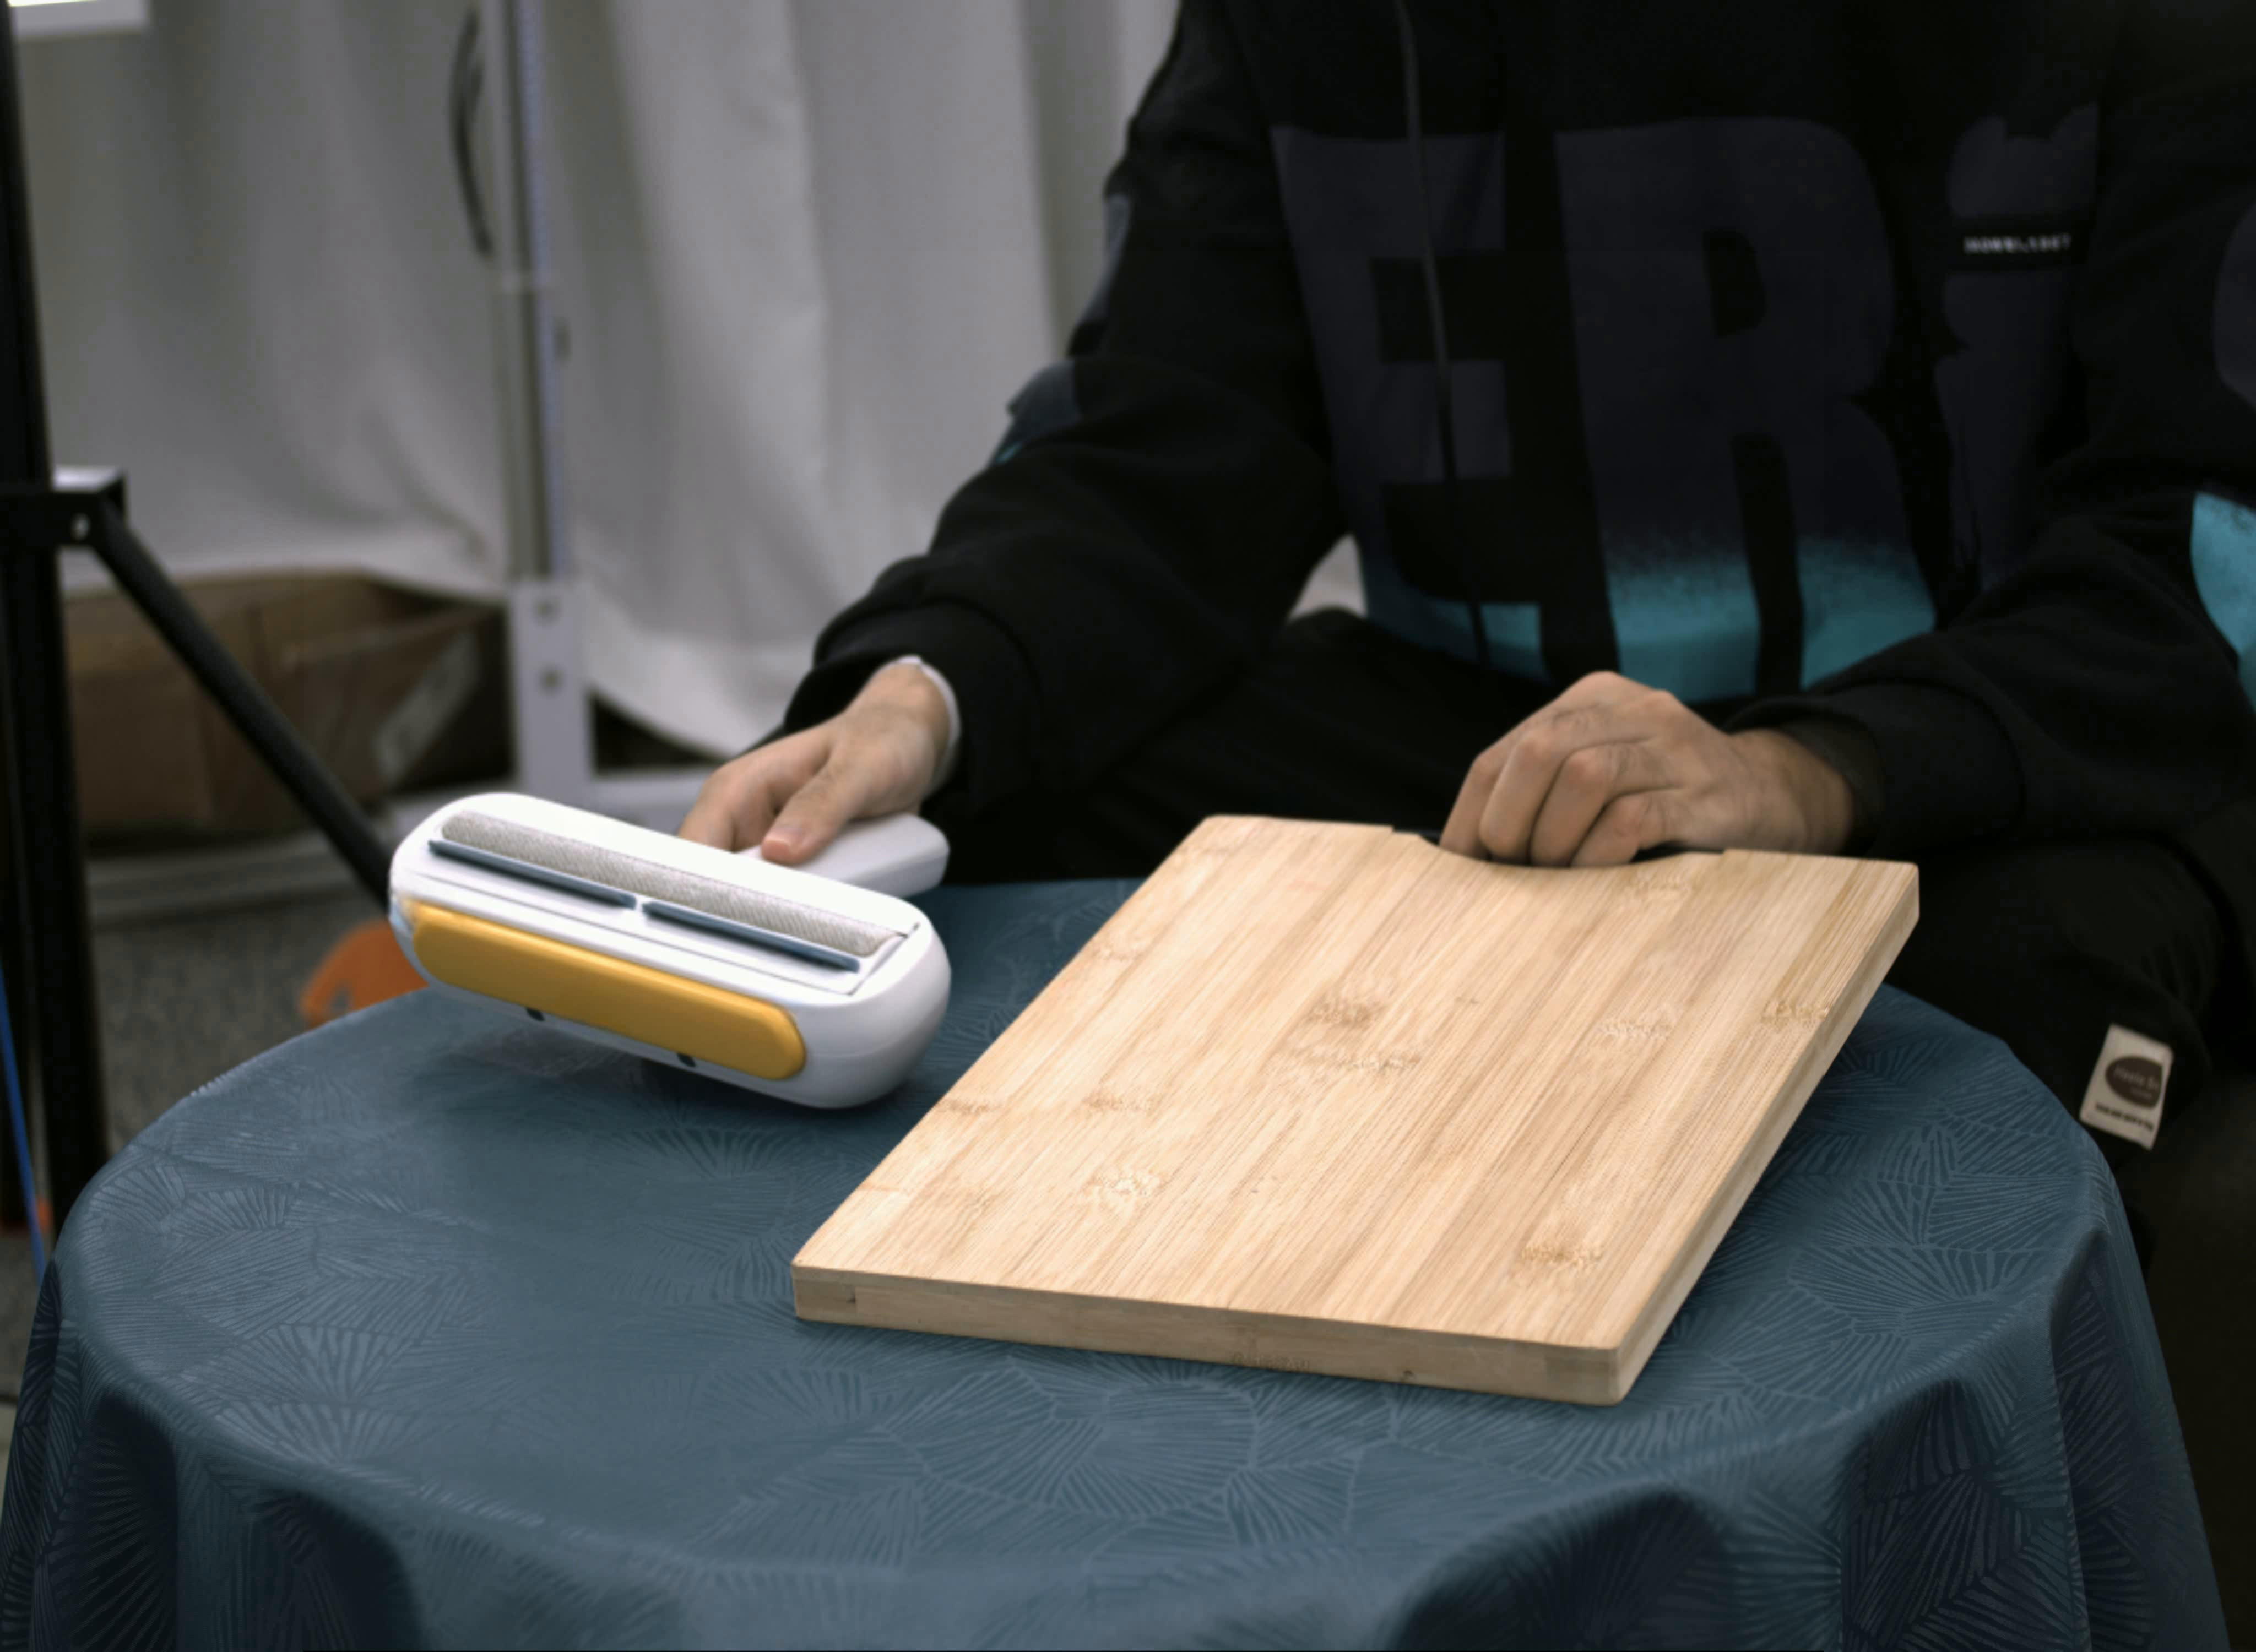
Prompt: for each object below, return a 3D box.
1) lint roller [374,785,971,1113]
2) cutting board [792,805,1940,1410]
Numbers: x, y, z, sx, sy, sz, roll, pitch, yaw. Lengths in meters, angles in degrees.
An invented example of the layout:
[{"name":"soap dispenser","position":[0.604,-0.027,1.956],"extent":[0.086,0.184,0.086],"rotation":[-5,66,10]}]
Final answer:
[{"name":"lint roller","position":[-0.118,0.022,1.726],"extent":[0.197,0.074,0.189],"rotation":[13,30,33]},{"name":"cutting board","position":[0.080,0.073,1.570],"extent":[0.254,0.023,0.345],"rotation":[4,23,22]}]
